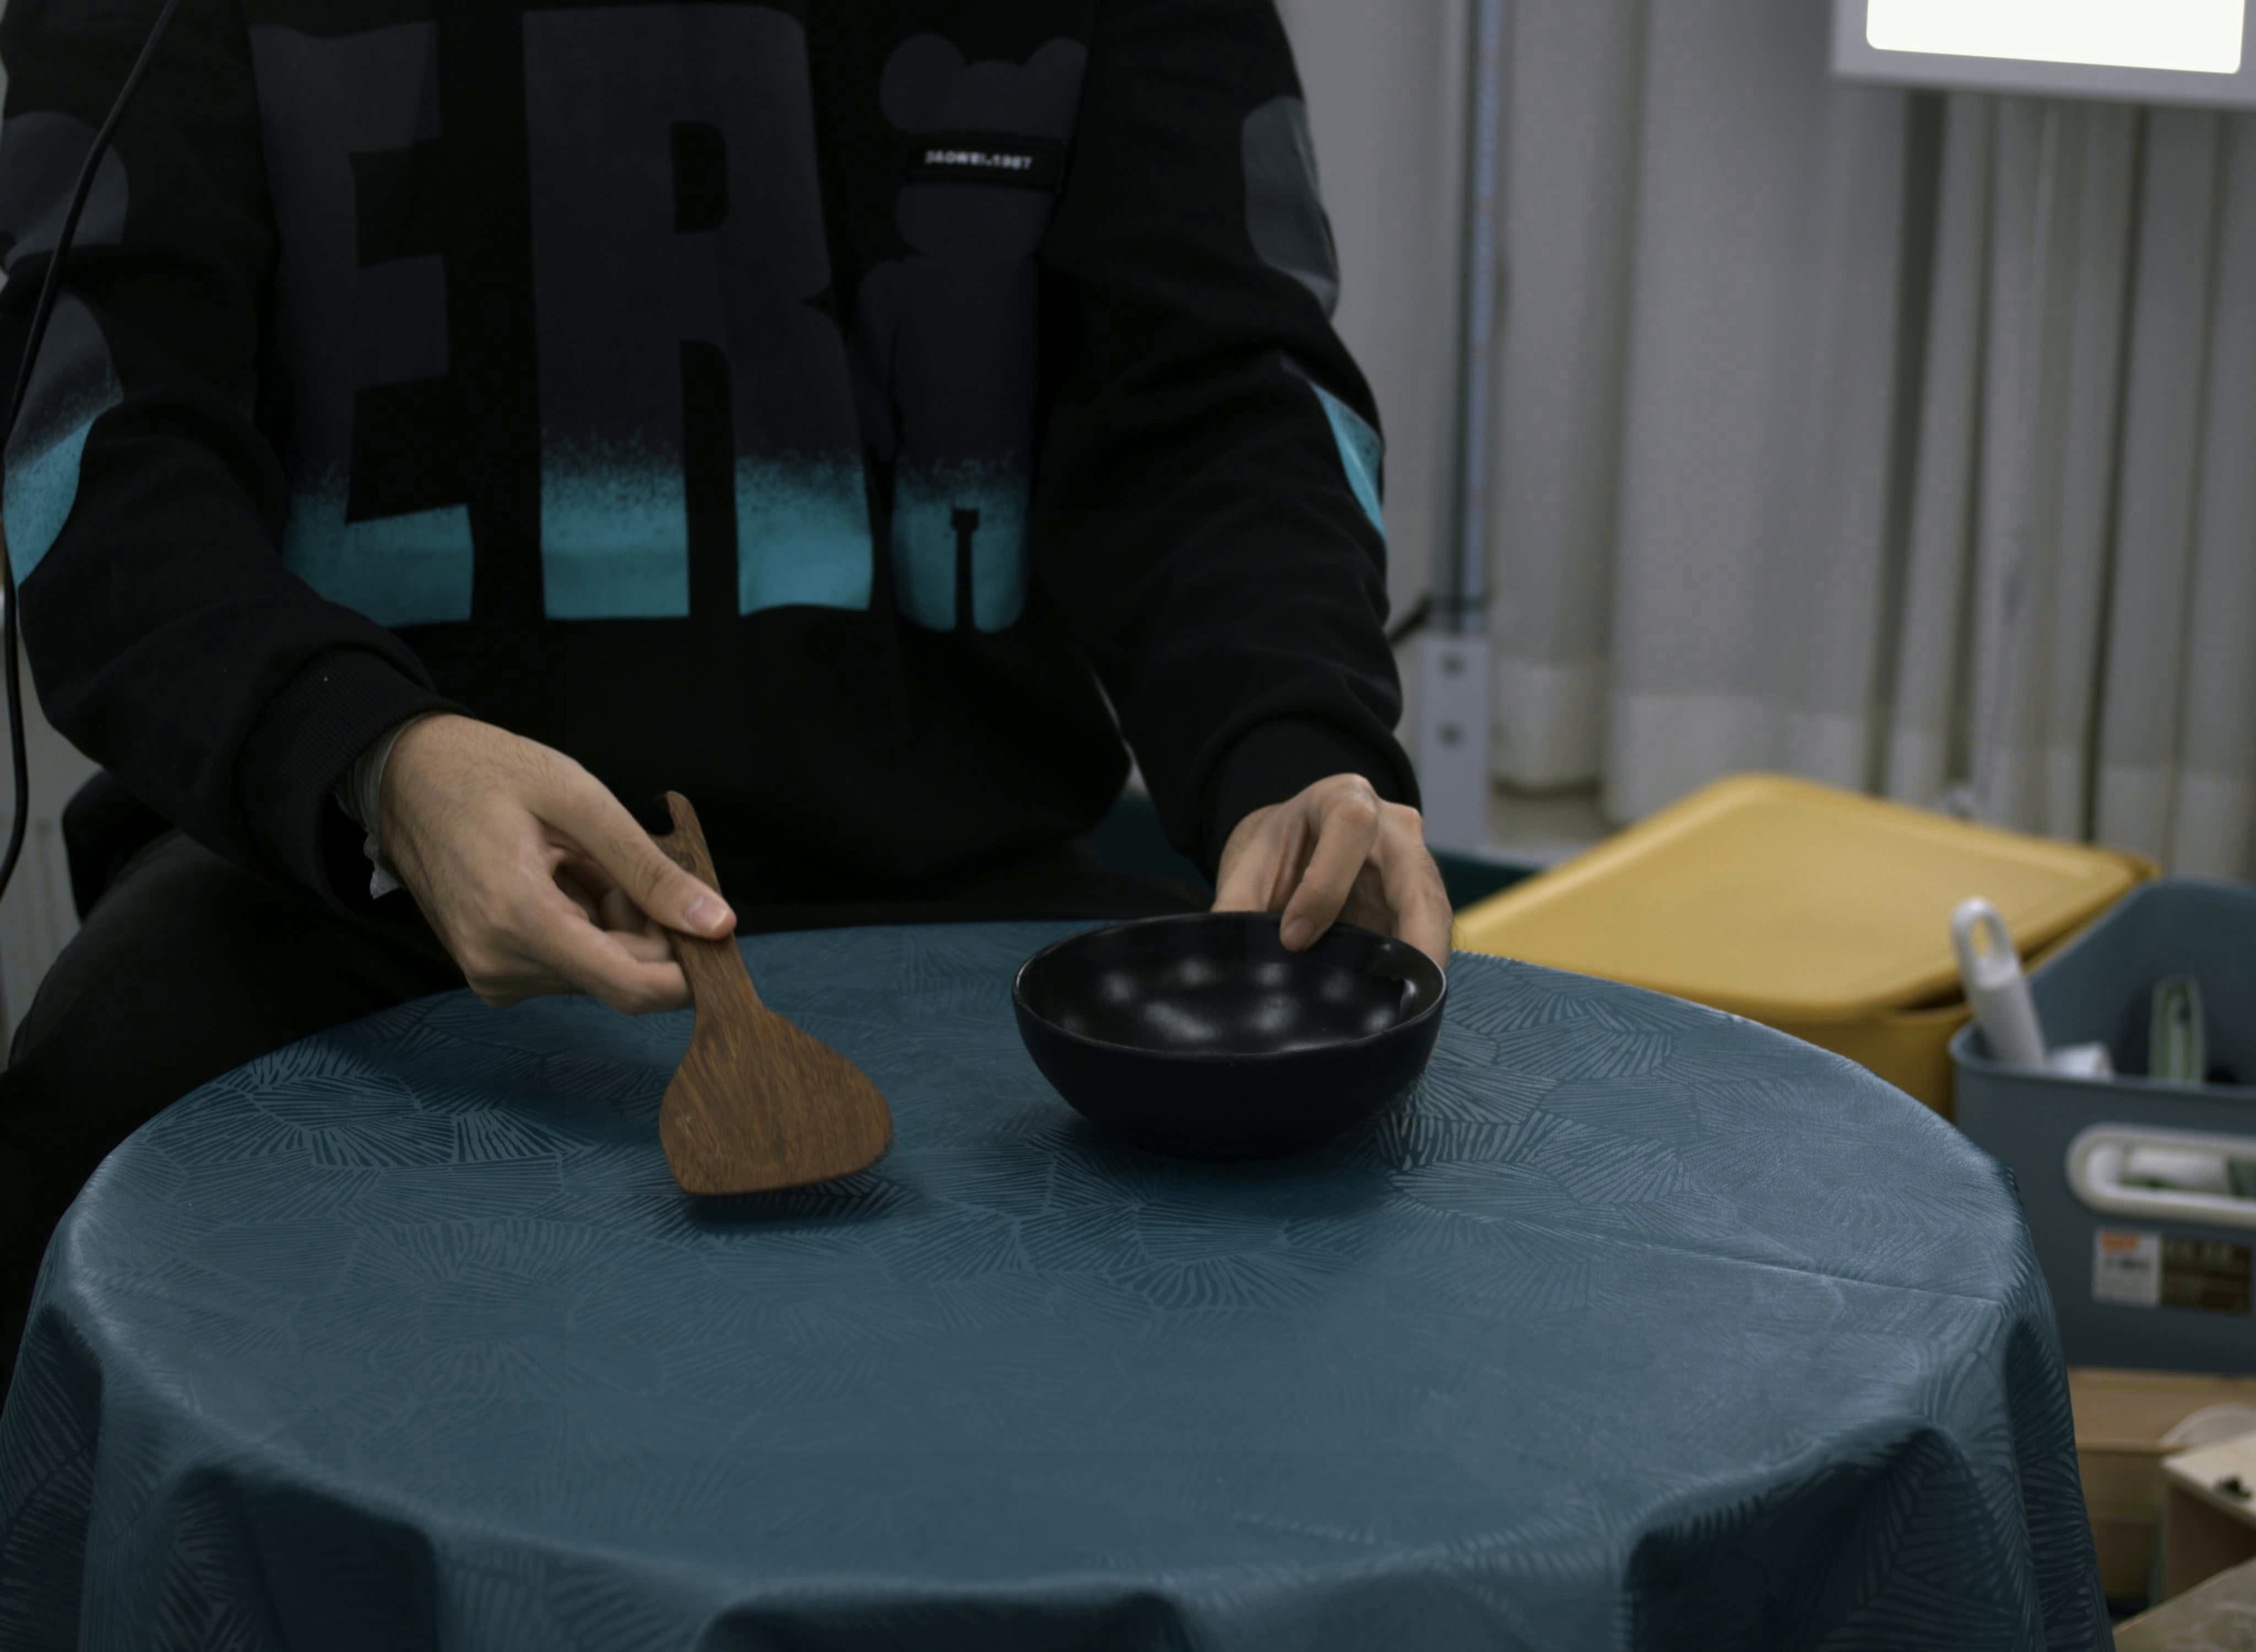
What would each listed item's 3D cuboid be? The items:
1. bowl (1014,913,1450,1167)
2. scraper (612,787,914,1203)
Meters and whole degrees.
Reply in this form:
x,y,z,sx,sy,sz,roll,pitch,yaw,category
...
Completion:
x,y,z,sx,sy,sz,roll,pitch,yaw,category
0.034,0.073,1.677,0.139,0.050,0.139,-2,18,1,bowl
-0.129,0.051,1.673,0.076,0.011,0.208,-8,39,-16,scraper
